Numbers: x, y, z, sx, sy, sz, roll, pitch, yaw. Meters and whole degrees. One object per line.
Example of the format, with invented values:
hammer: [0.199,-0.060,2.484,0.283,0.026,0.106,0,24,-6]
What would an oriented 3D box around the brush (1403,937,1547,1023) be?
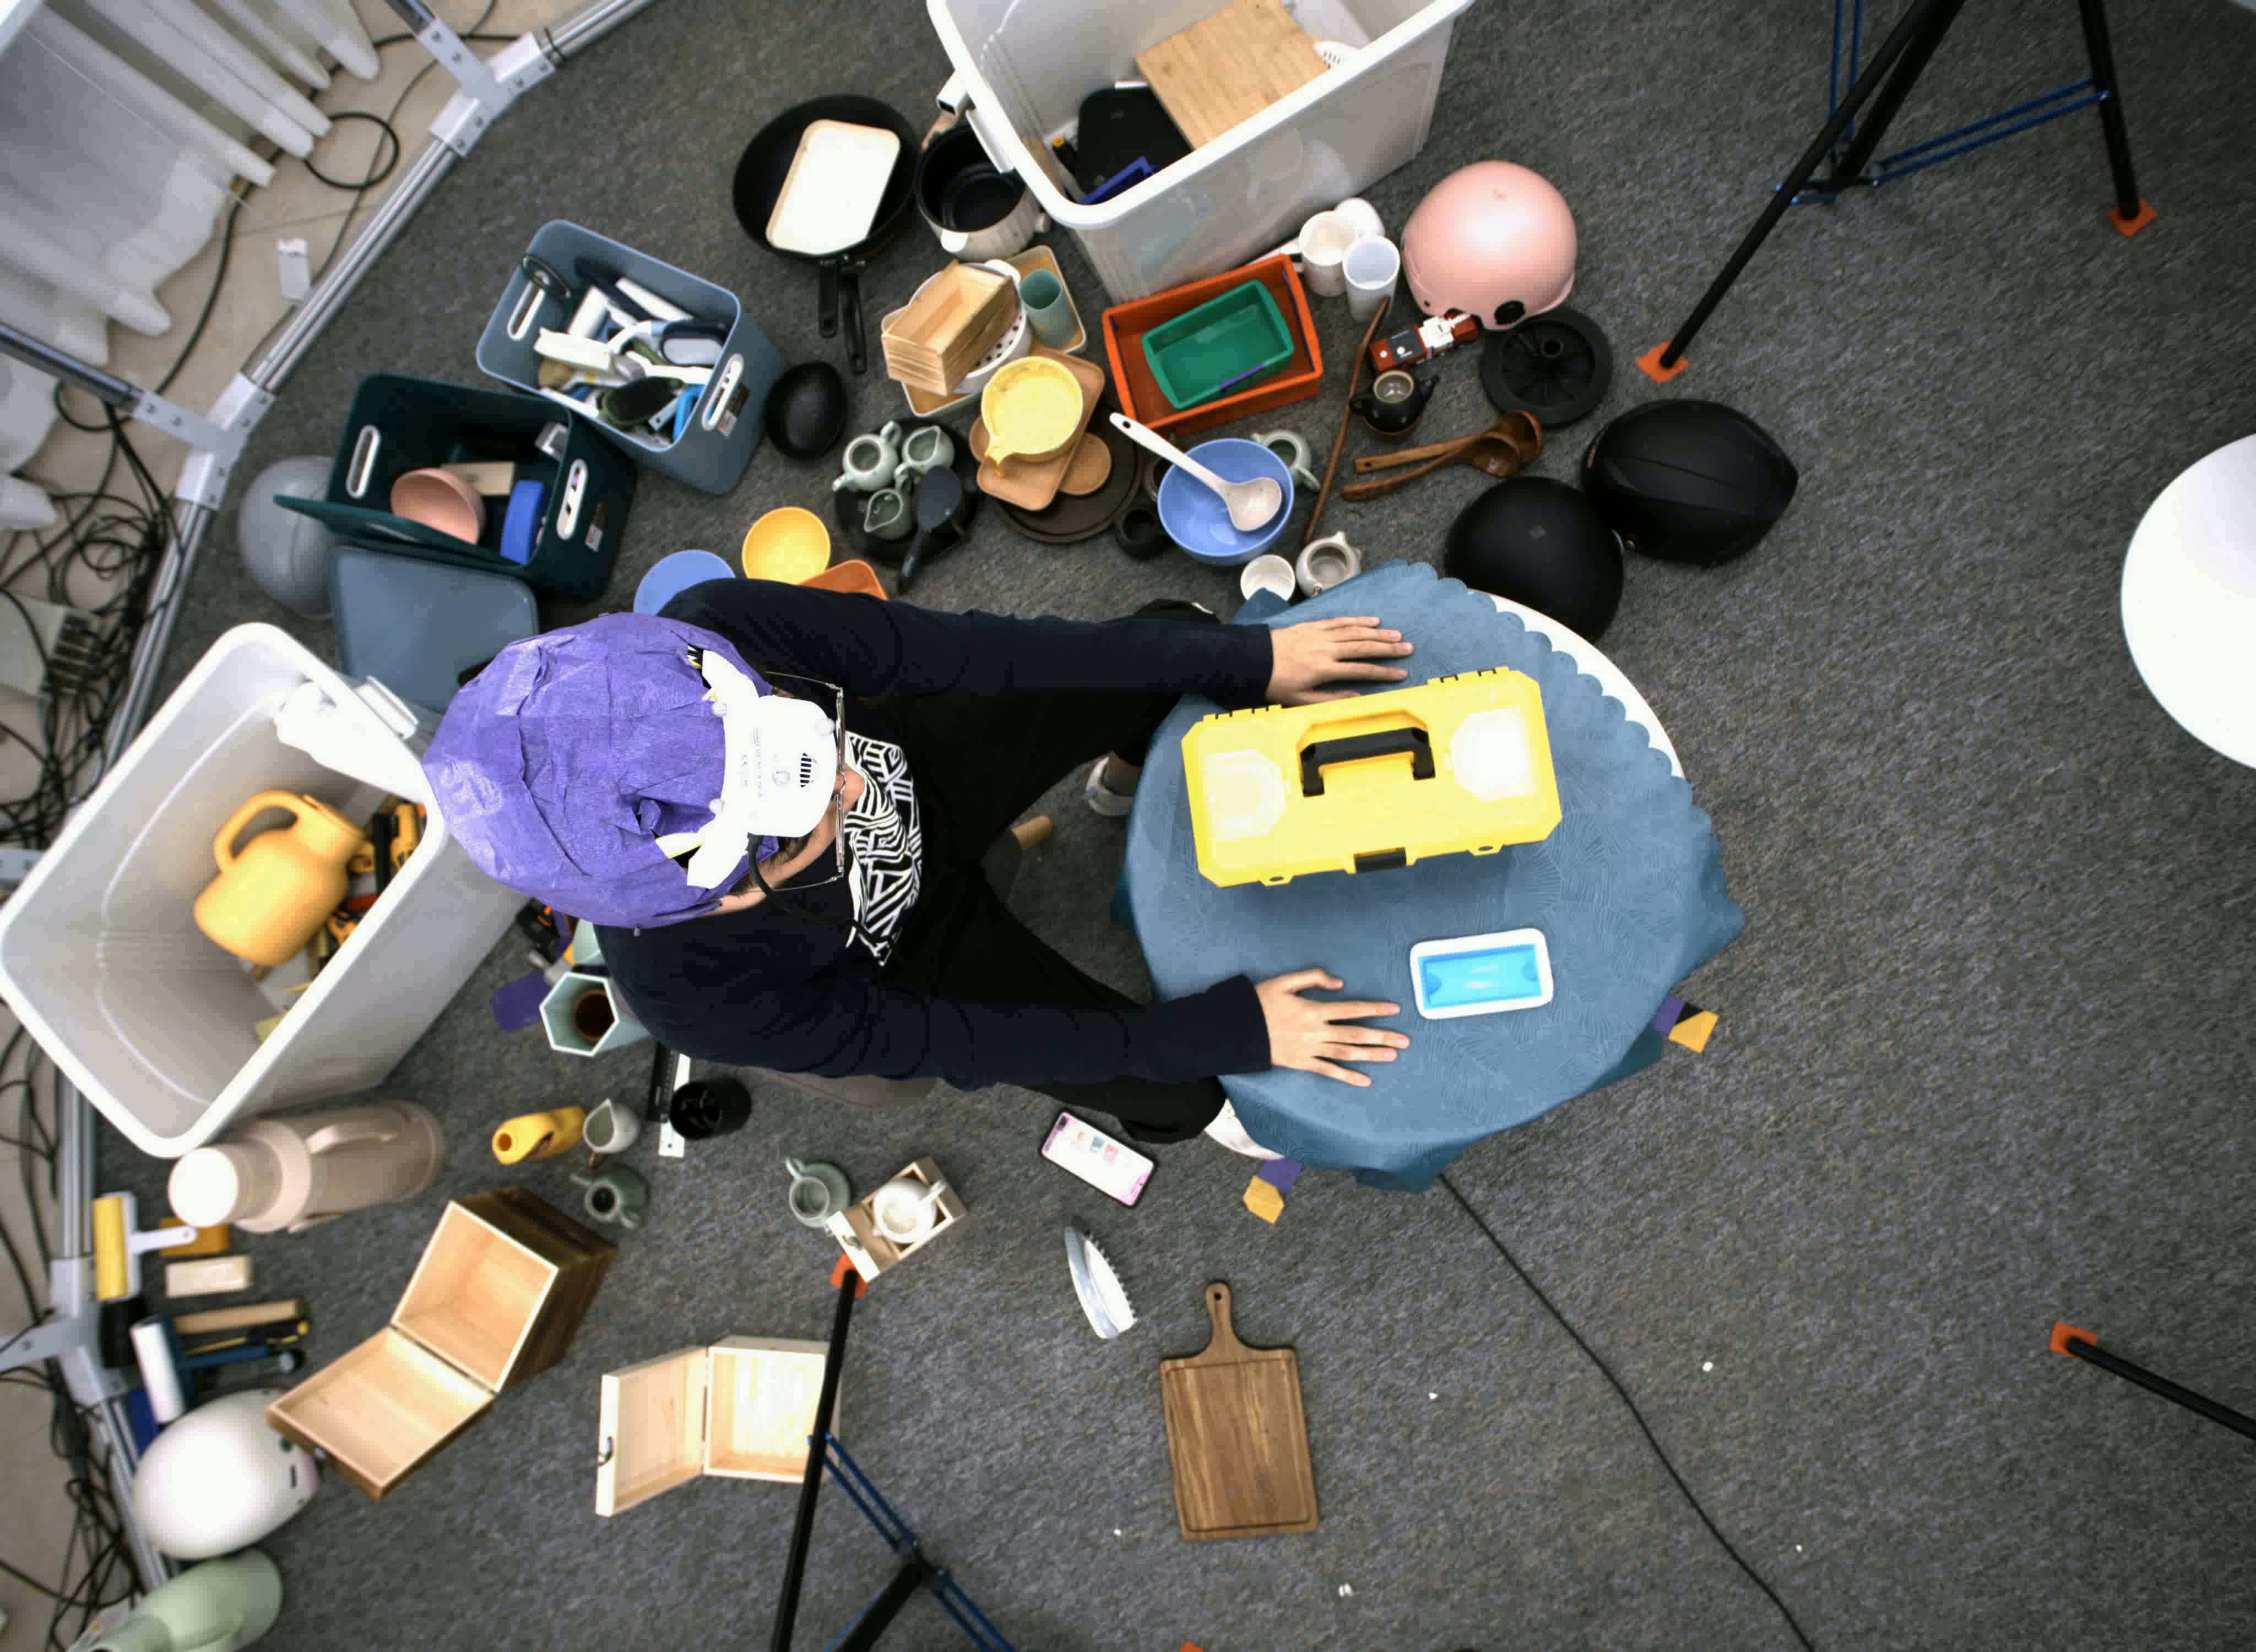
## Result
brush: [0.355,0.153,1.407,0.144,0.056,0.083,-6,82,8]

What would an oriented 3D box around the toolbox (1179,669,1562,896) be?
toolbox: [0.240,-0.039,1.381,0.353,0.173,0.180,-9,84,10]
